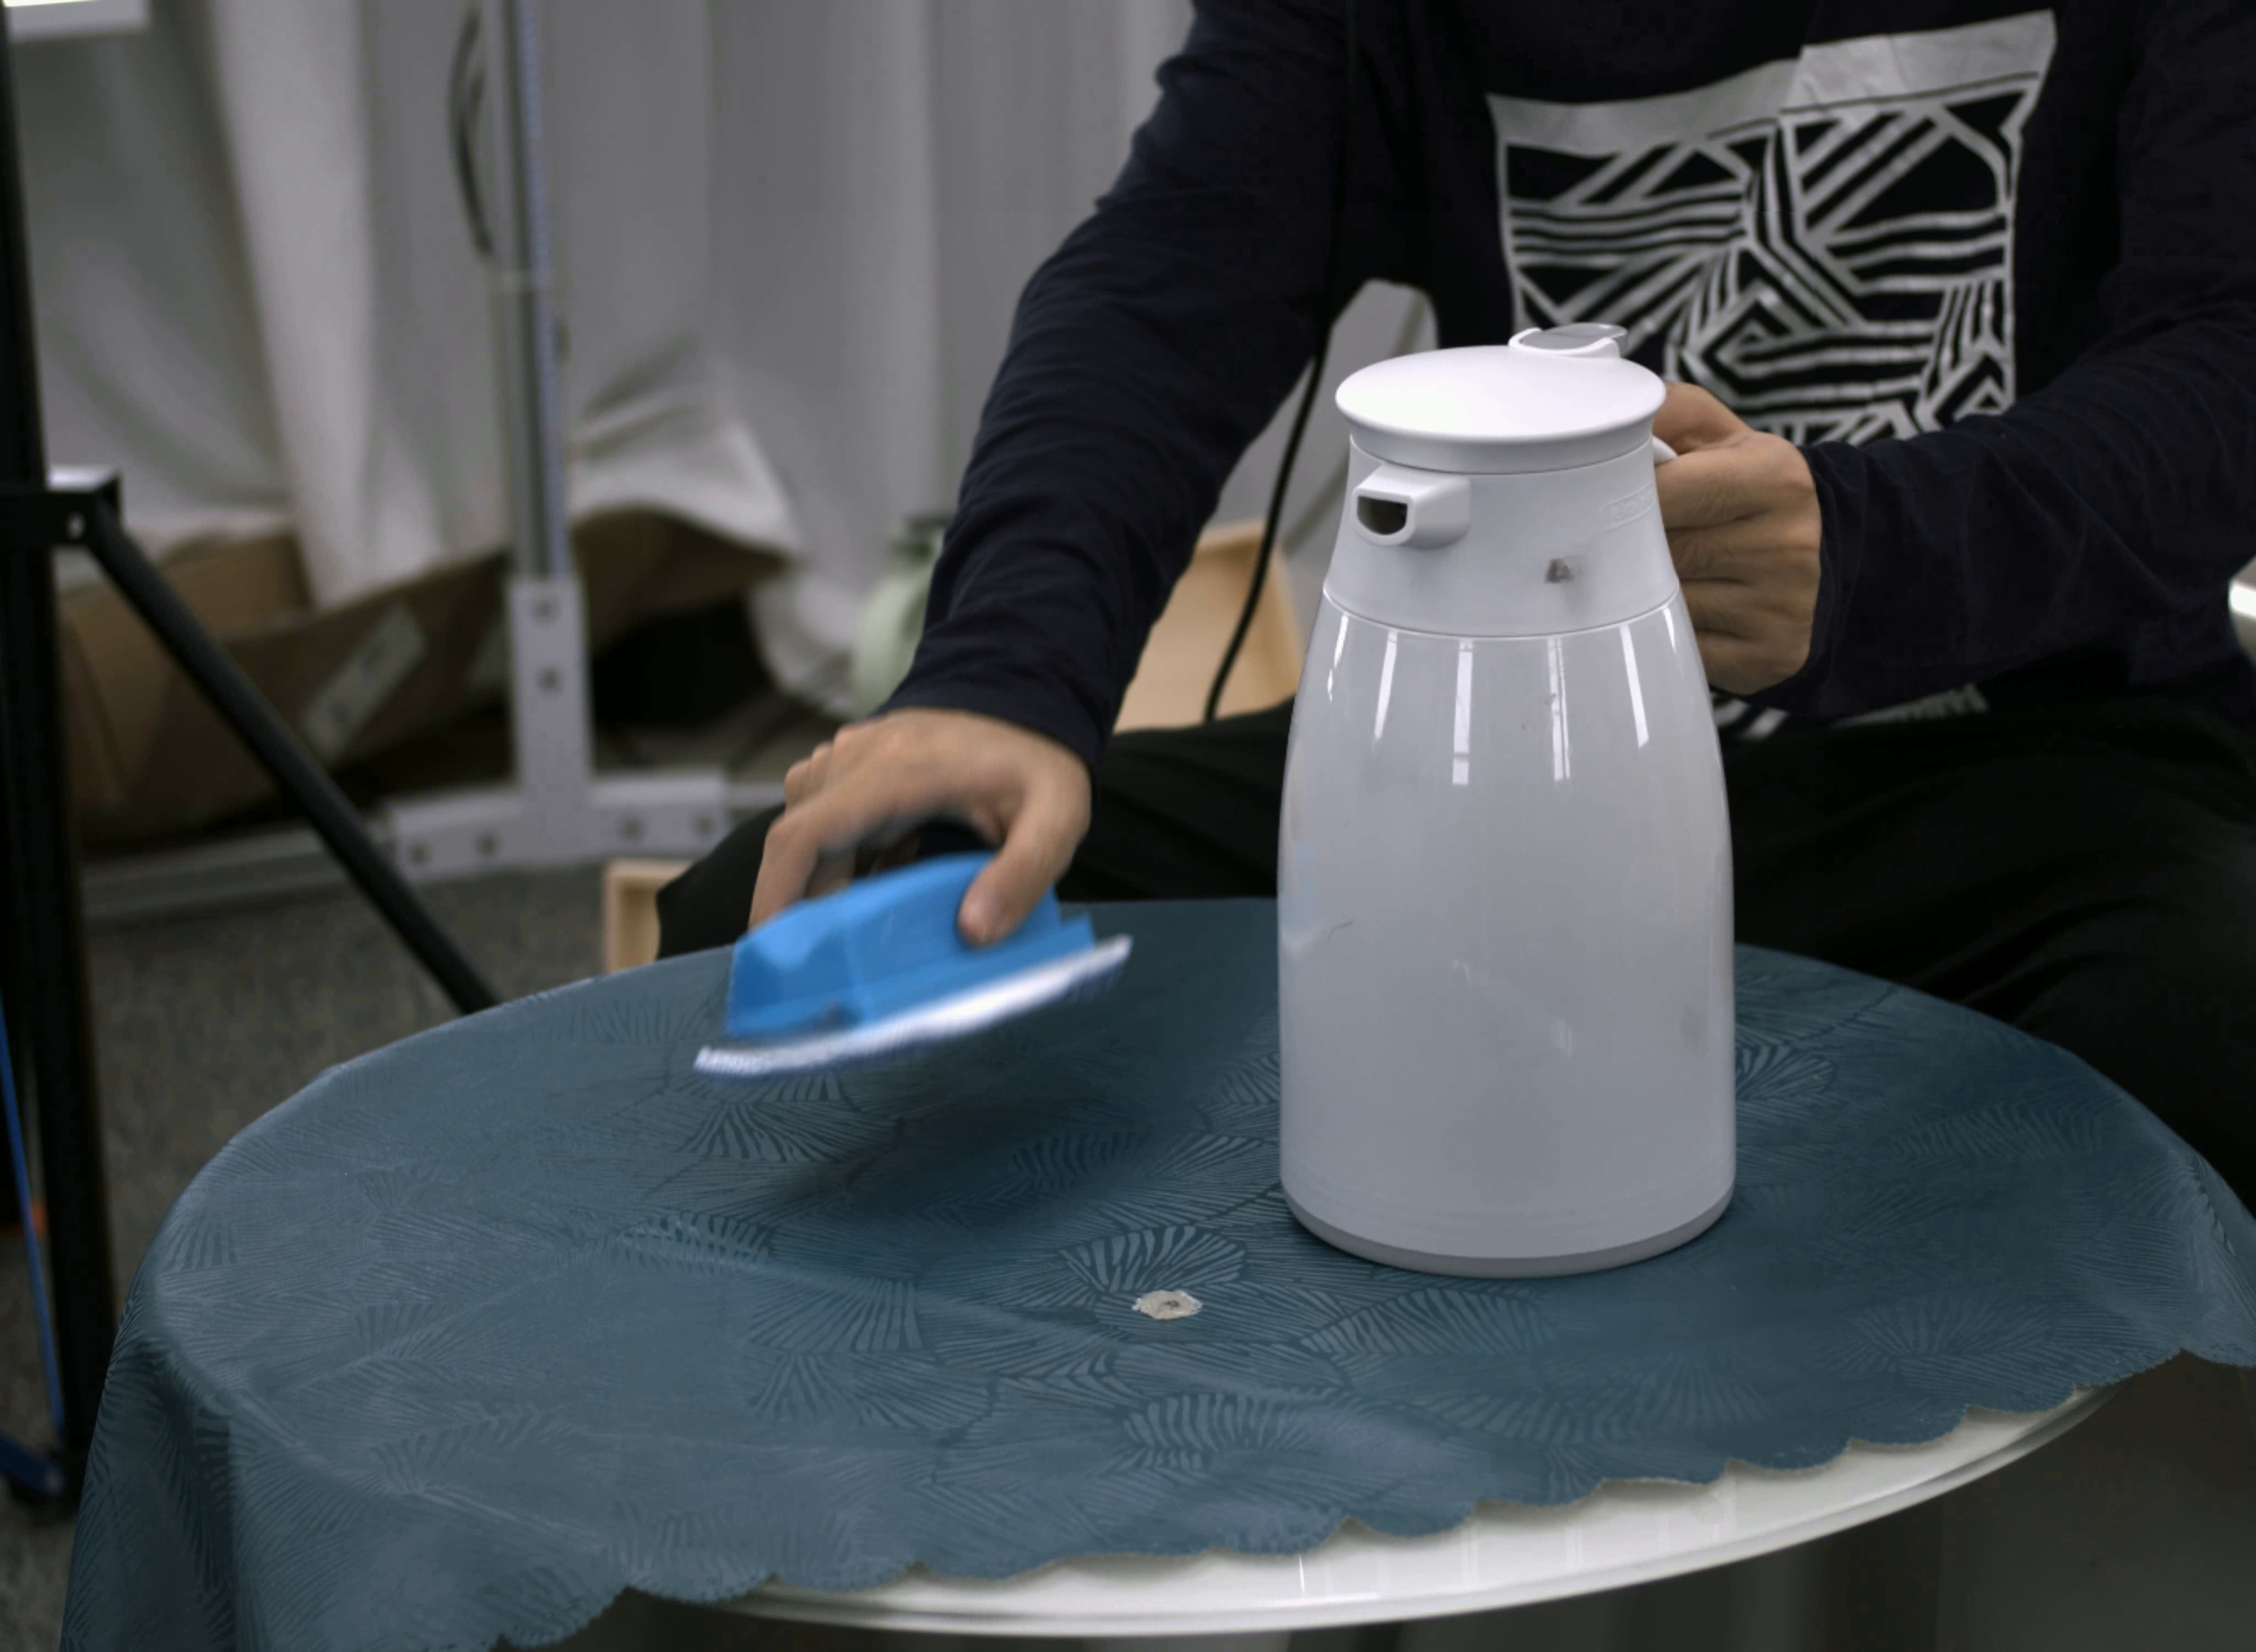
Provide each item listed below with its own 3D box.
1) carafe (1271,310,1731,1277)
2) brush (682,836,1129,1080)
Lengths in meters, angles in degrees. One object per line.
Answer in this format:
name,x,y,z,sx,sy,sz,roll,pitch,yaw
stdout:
carafe,0.115,-0.018,1.512,0.135,0.248,0.164,10,22,31
brush,-0.067,0.038,1.600,0.085,0.056,0.141,-4,11,37
